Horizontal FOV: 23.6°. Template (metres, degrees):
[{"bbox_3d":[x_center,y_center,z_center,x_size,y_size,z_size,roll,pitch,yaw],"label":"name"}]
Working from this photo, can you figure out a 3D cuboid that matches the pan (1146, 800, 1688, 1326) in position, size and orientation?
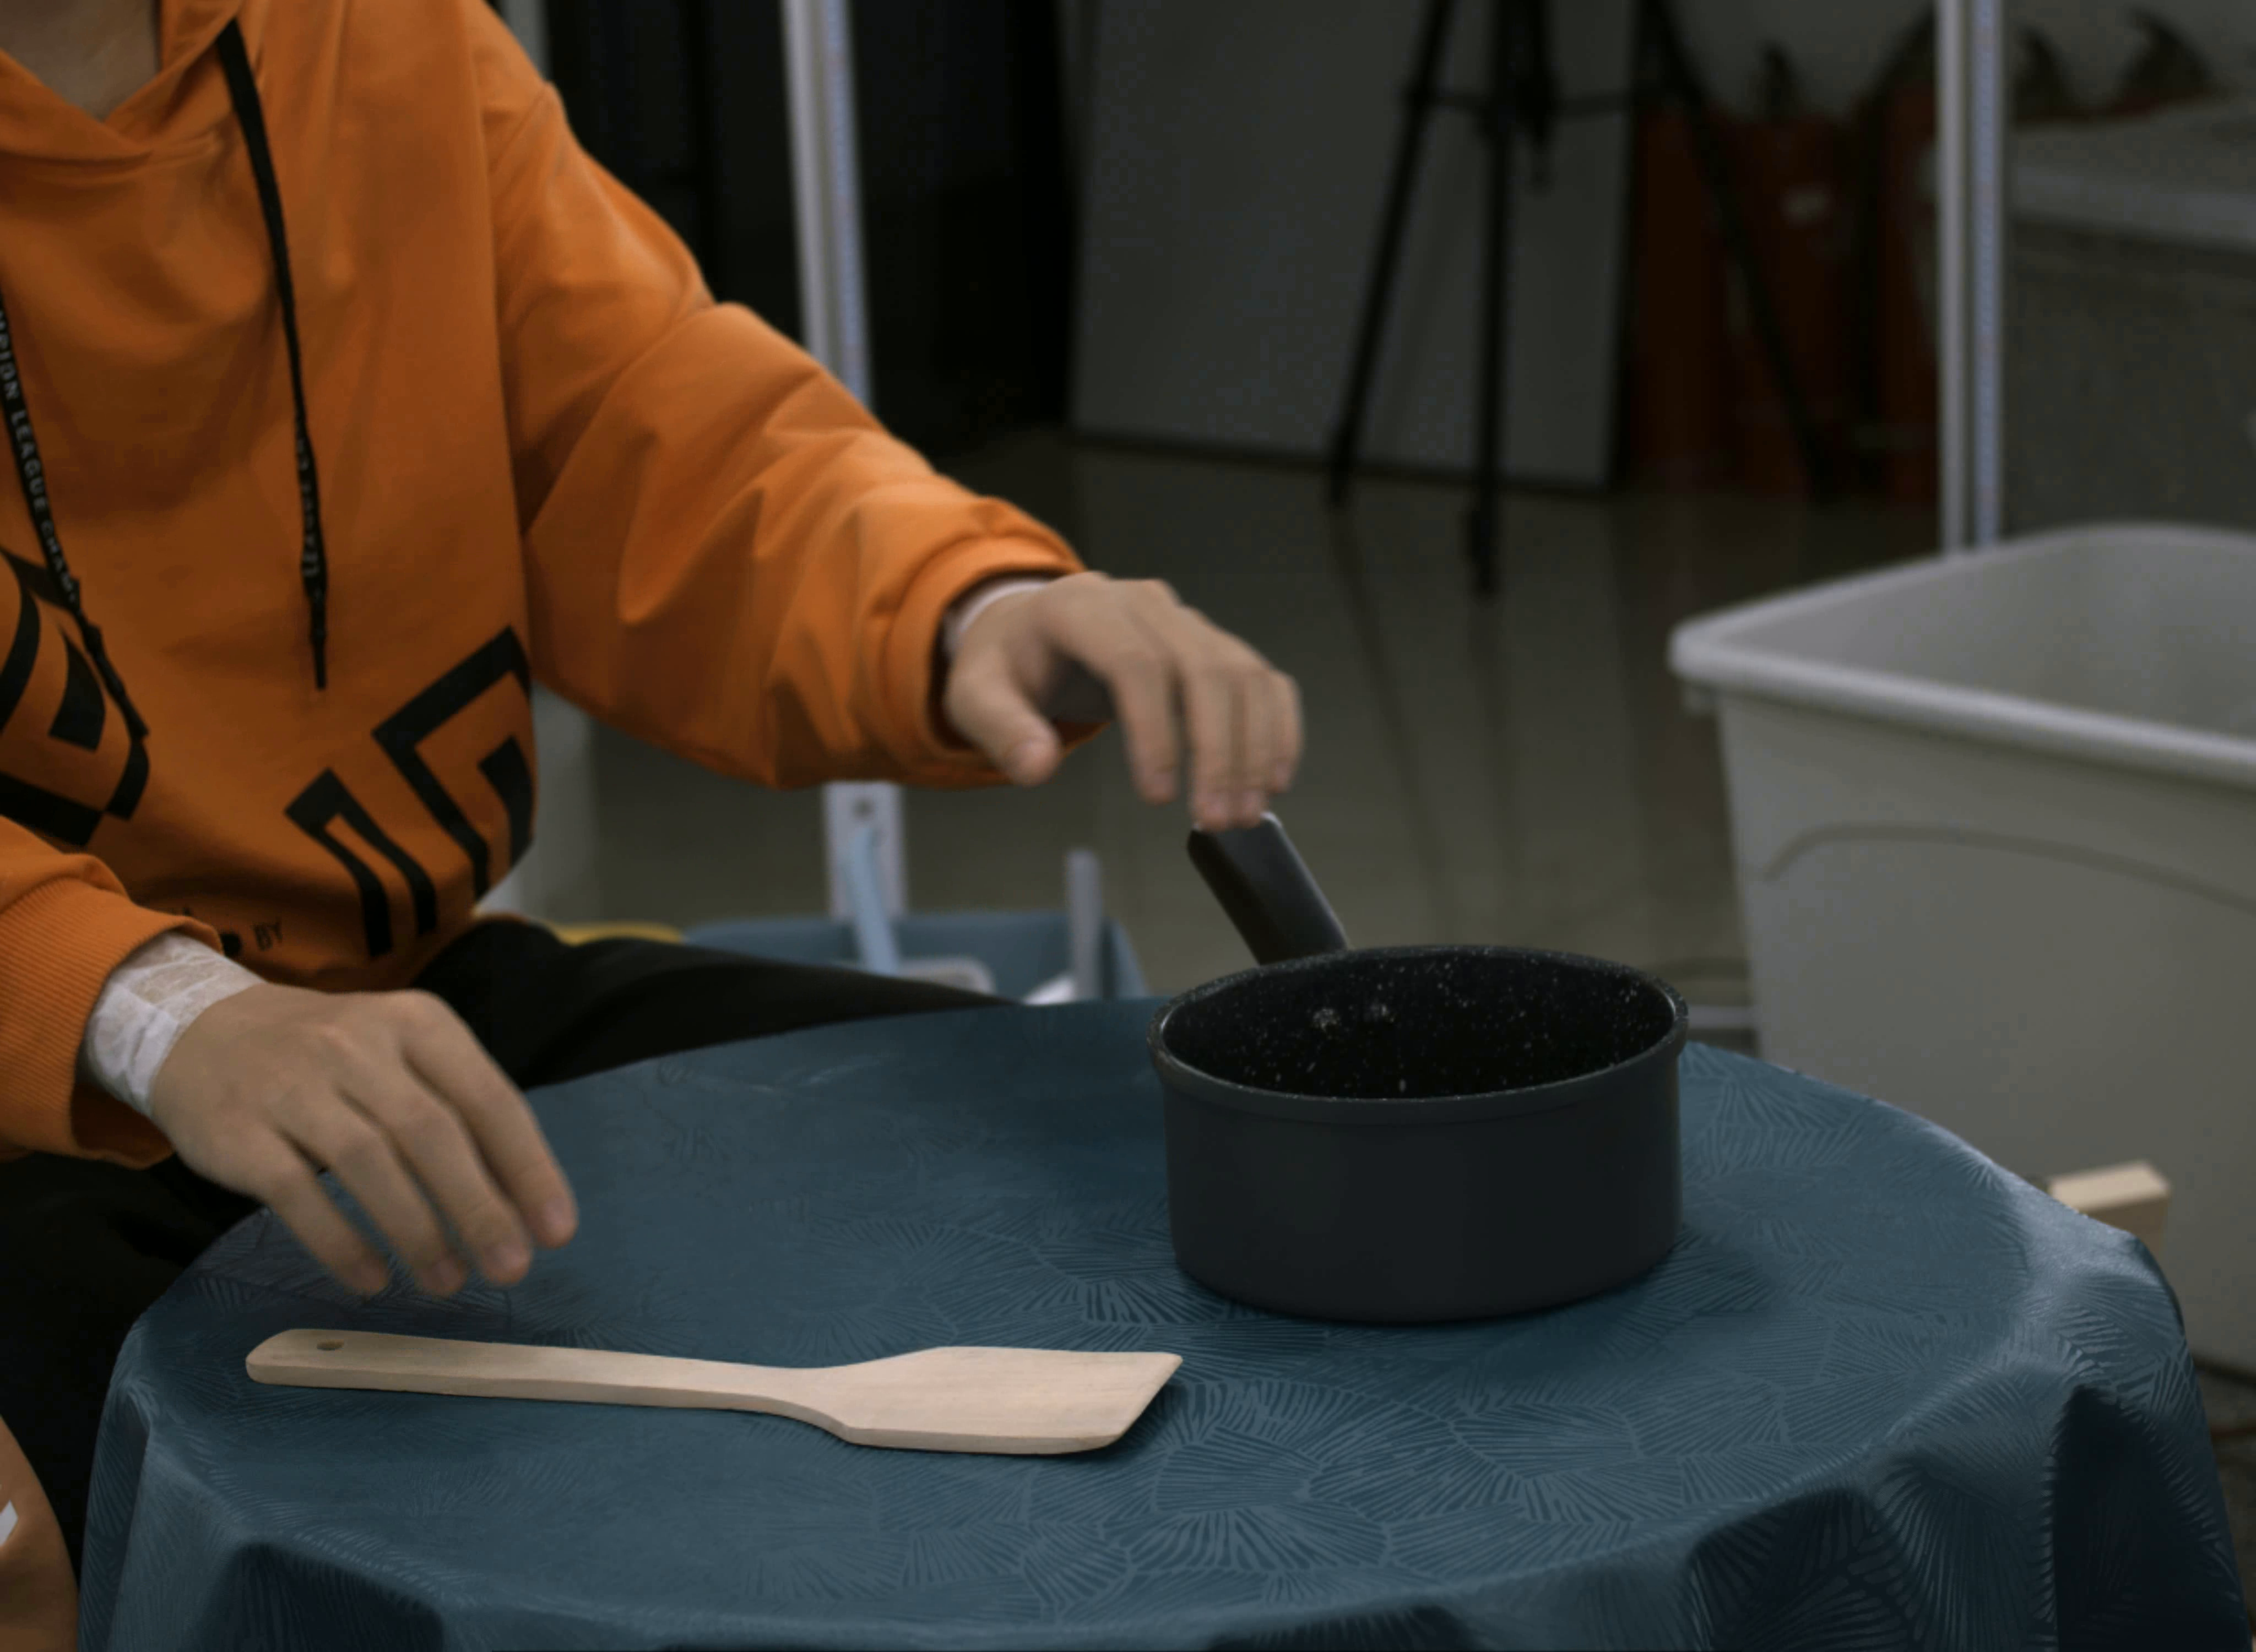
[{"bbox_3d":[0.078,0.074,1.763,0.169,0.087,0.330,-5,15,-9],"label":"pan"}]

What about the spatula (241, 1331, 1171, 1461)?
[{"bbox_3d":[-0.132,0.166,1.608,0.292,0.011,0.071,1,18,20],"label":"spatula"}]
